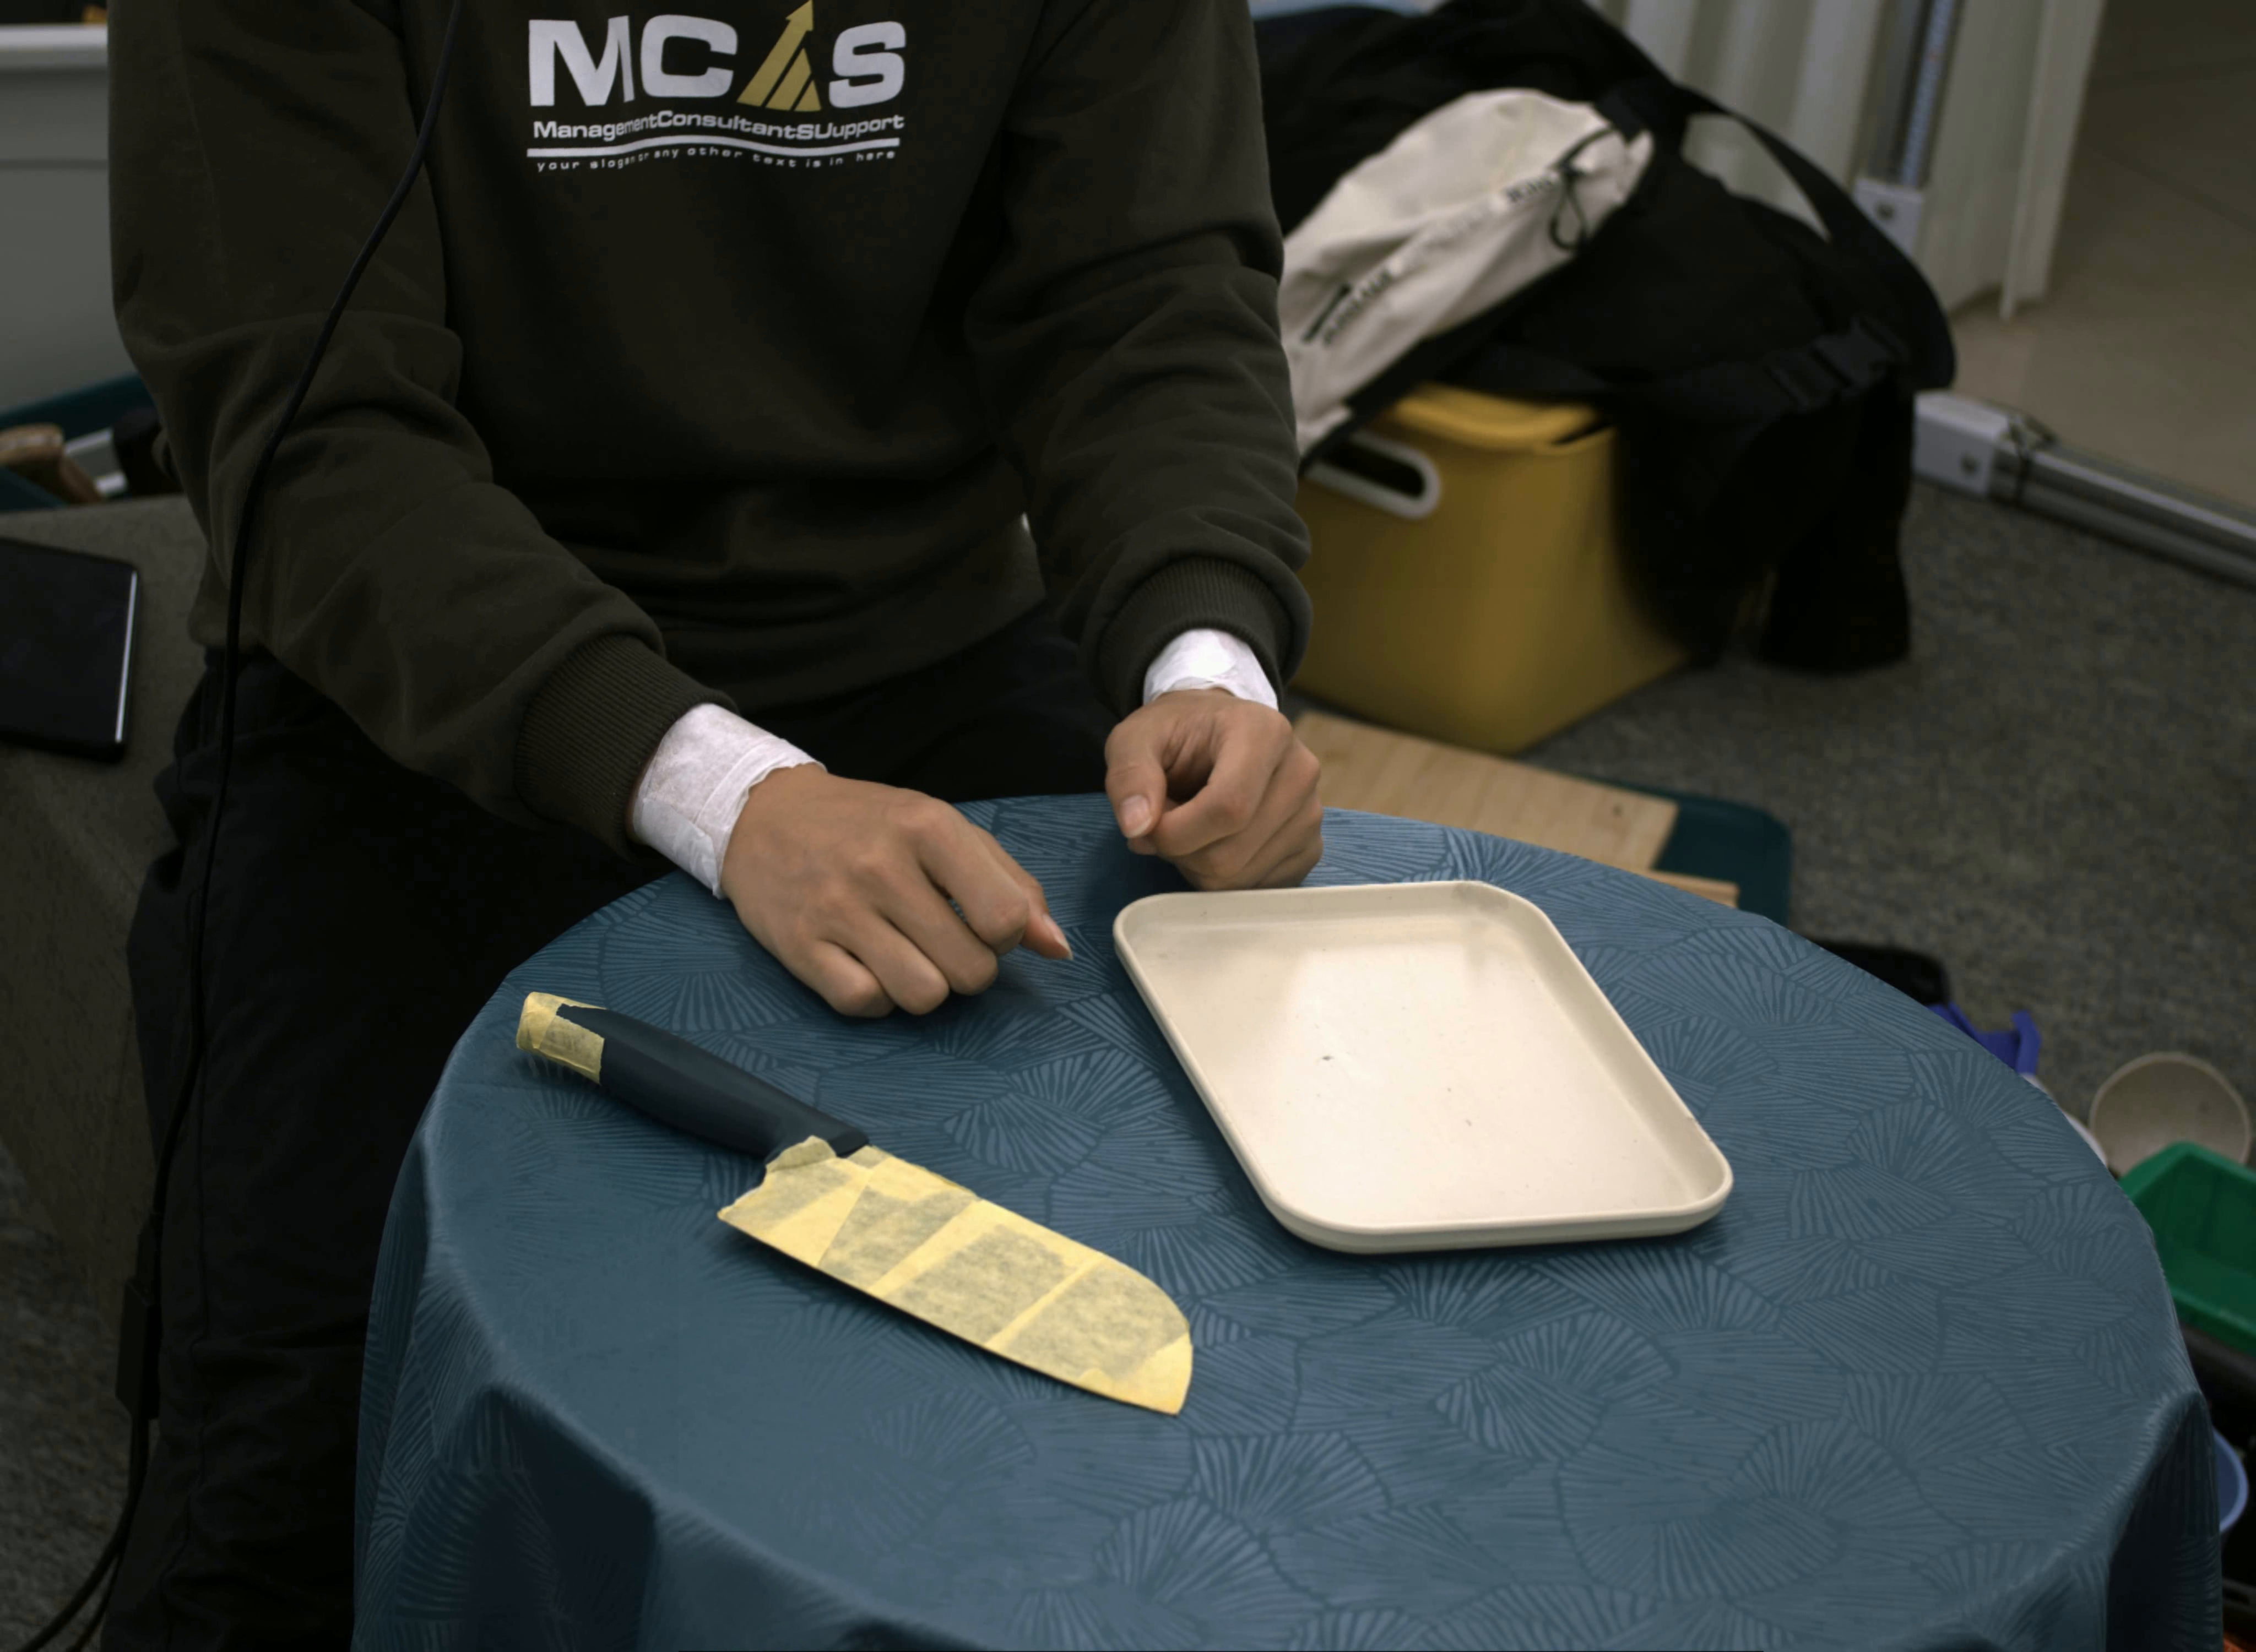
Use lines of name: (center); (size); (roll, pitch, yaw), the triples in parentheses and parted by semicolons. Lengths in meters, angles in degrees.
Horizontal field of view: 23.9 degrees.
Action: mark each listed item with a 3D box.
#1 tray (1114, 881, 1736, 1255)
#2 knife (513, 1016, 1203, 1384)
tray: (0.101, 0.084, 1.887); (0.170, 0.017, 0.242); (-3, 28, -17)
knife: (-0.097, 0.126, 1.764); (0.291, 0.027, 0.081); (23, 29, 28)
